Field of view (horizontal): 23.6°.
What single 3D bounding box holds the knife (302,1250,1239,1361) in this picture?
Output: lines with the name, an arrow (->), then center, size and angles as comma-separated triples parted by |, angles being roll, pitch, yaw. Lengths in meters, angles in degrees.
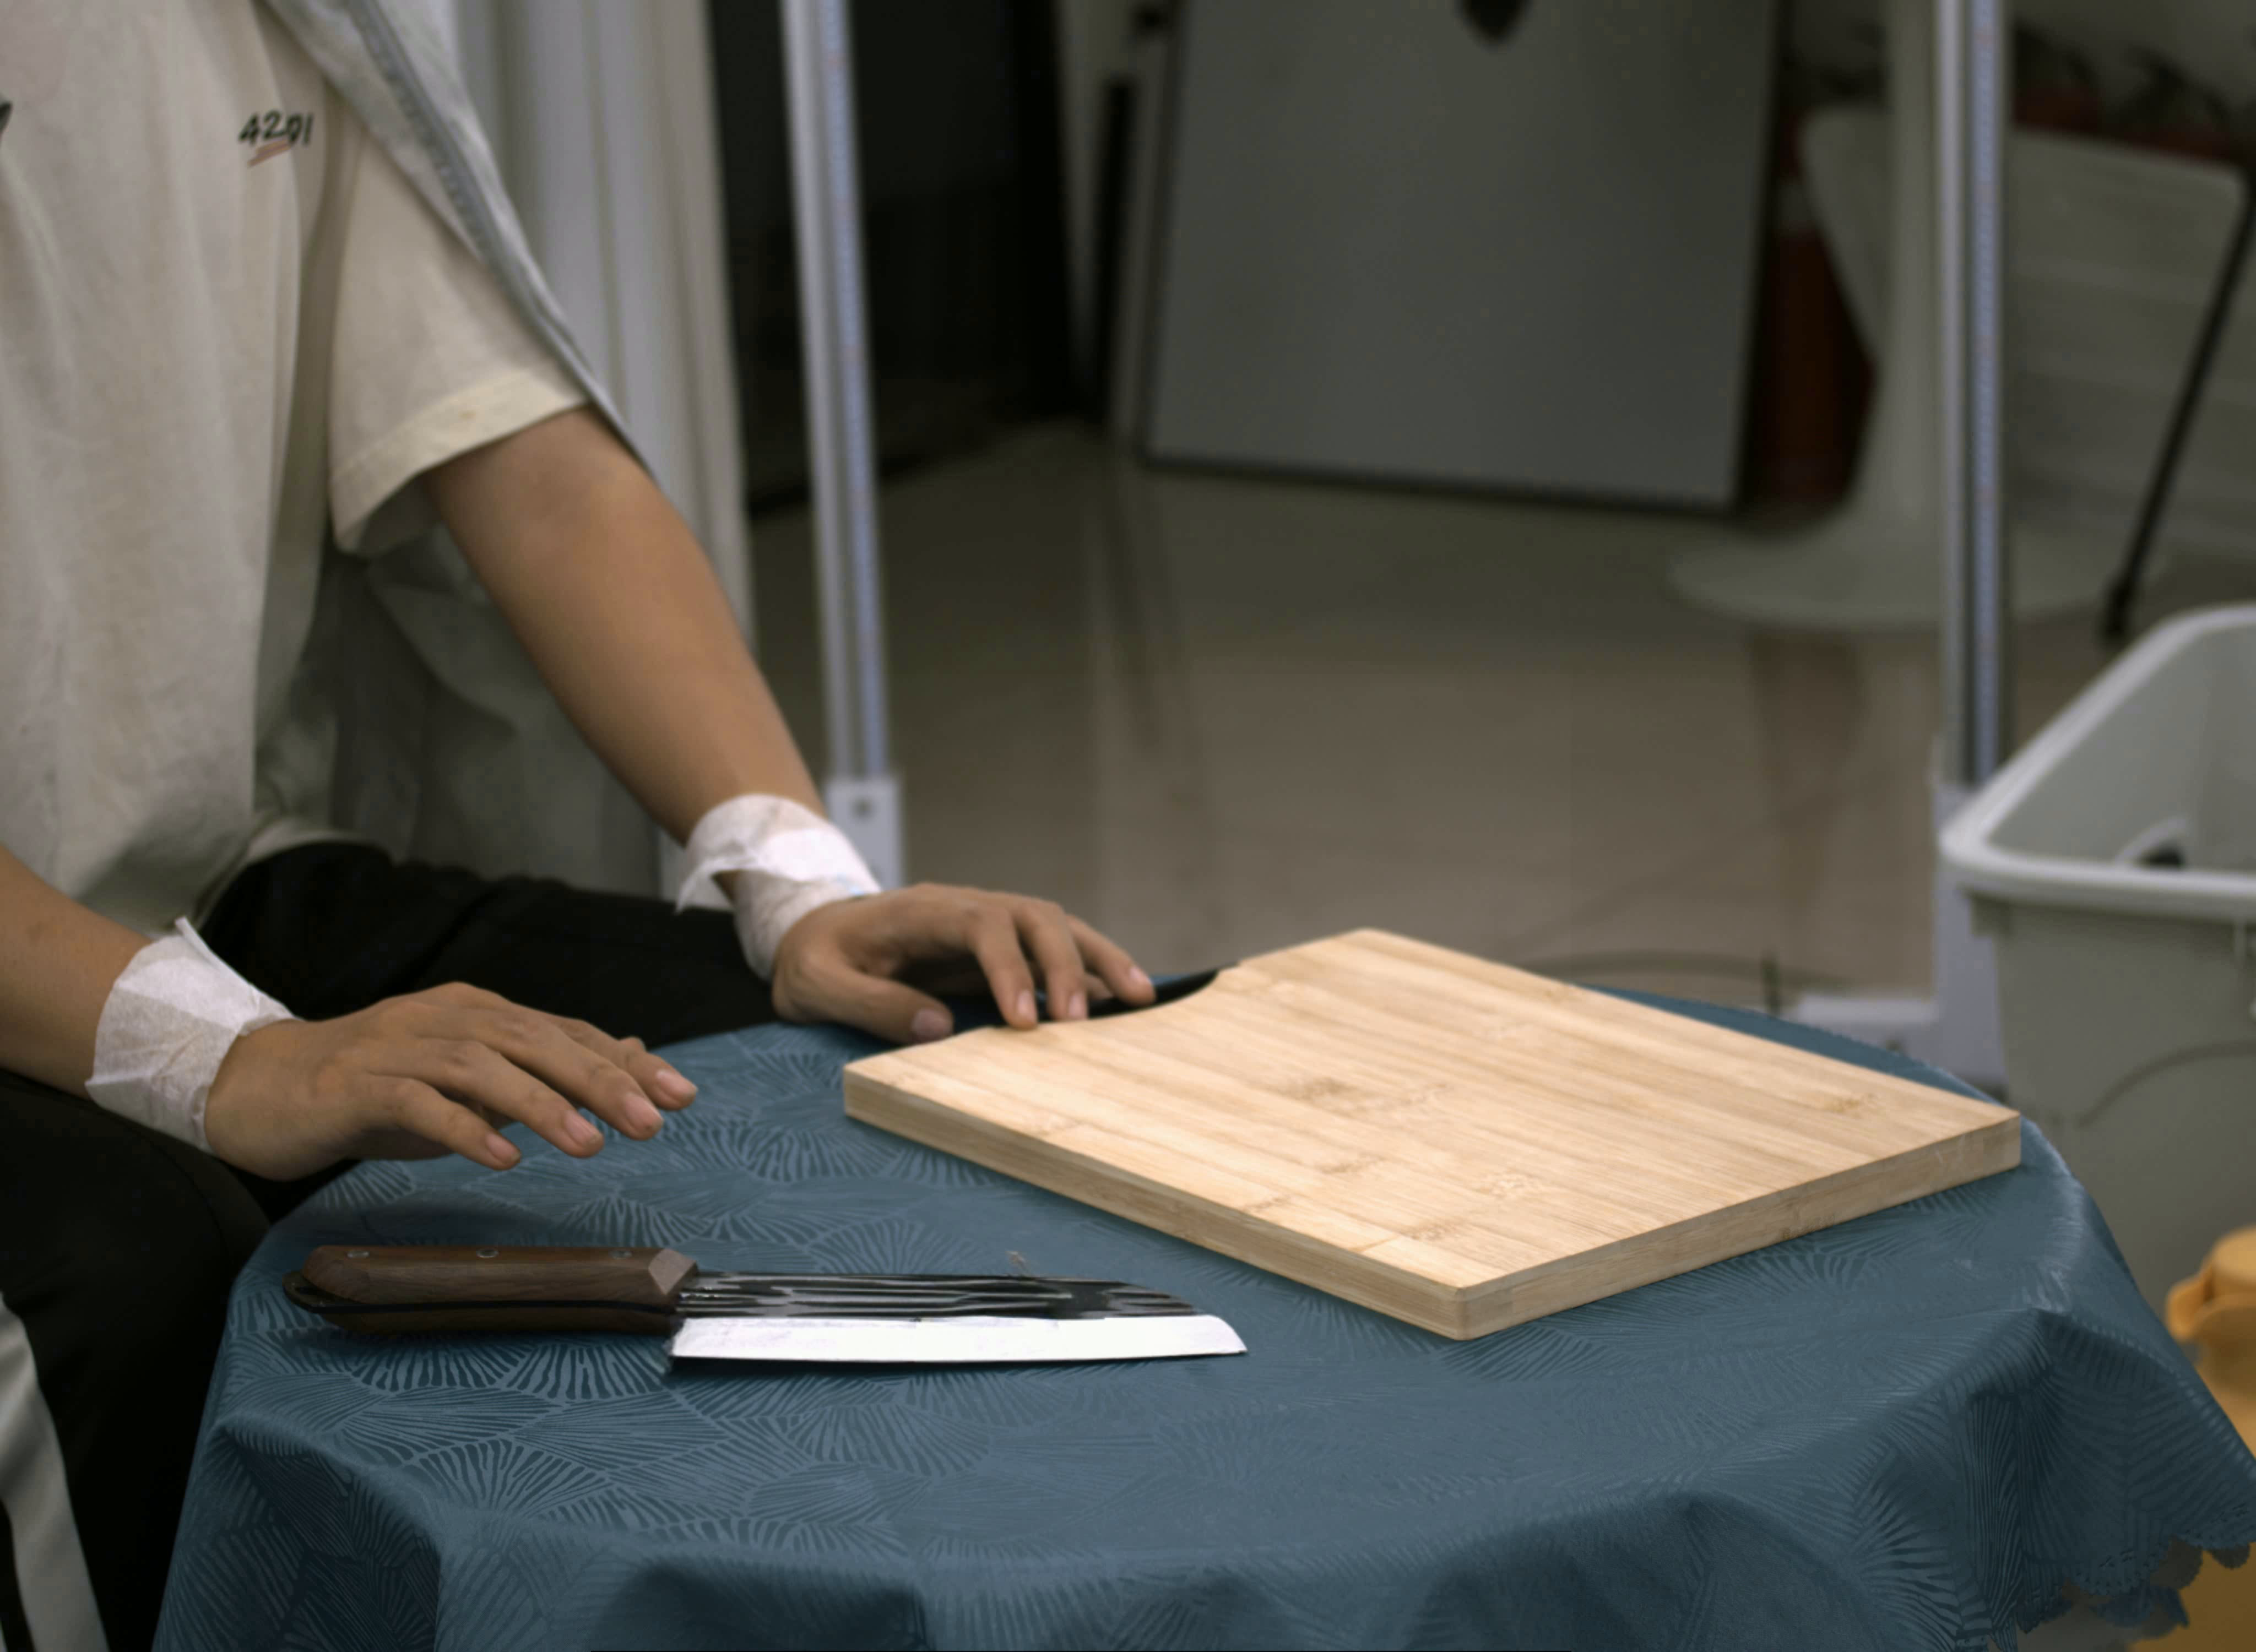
knife -> -0.112, 0.150, 1.650 | 0.297, 0.024, 0.068 | 1, 16, 7

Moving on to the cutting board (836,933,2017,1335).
cutting board -> 0.093, 0.098, 1.811 | 0.245, 0.024, 0.352 | -13, 16, -35
